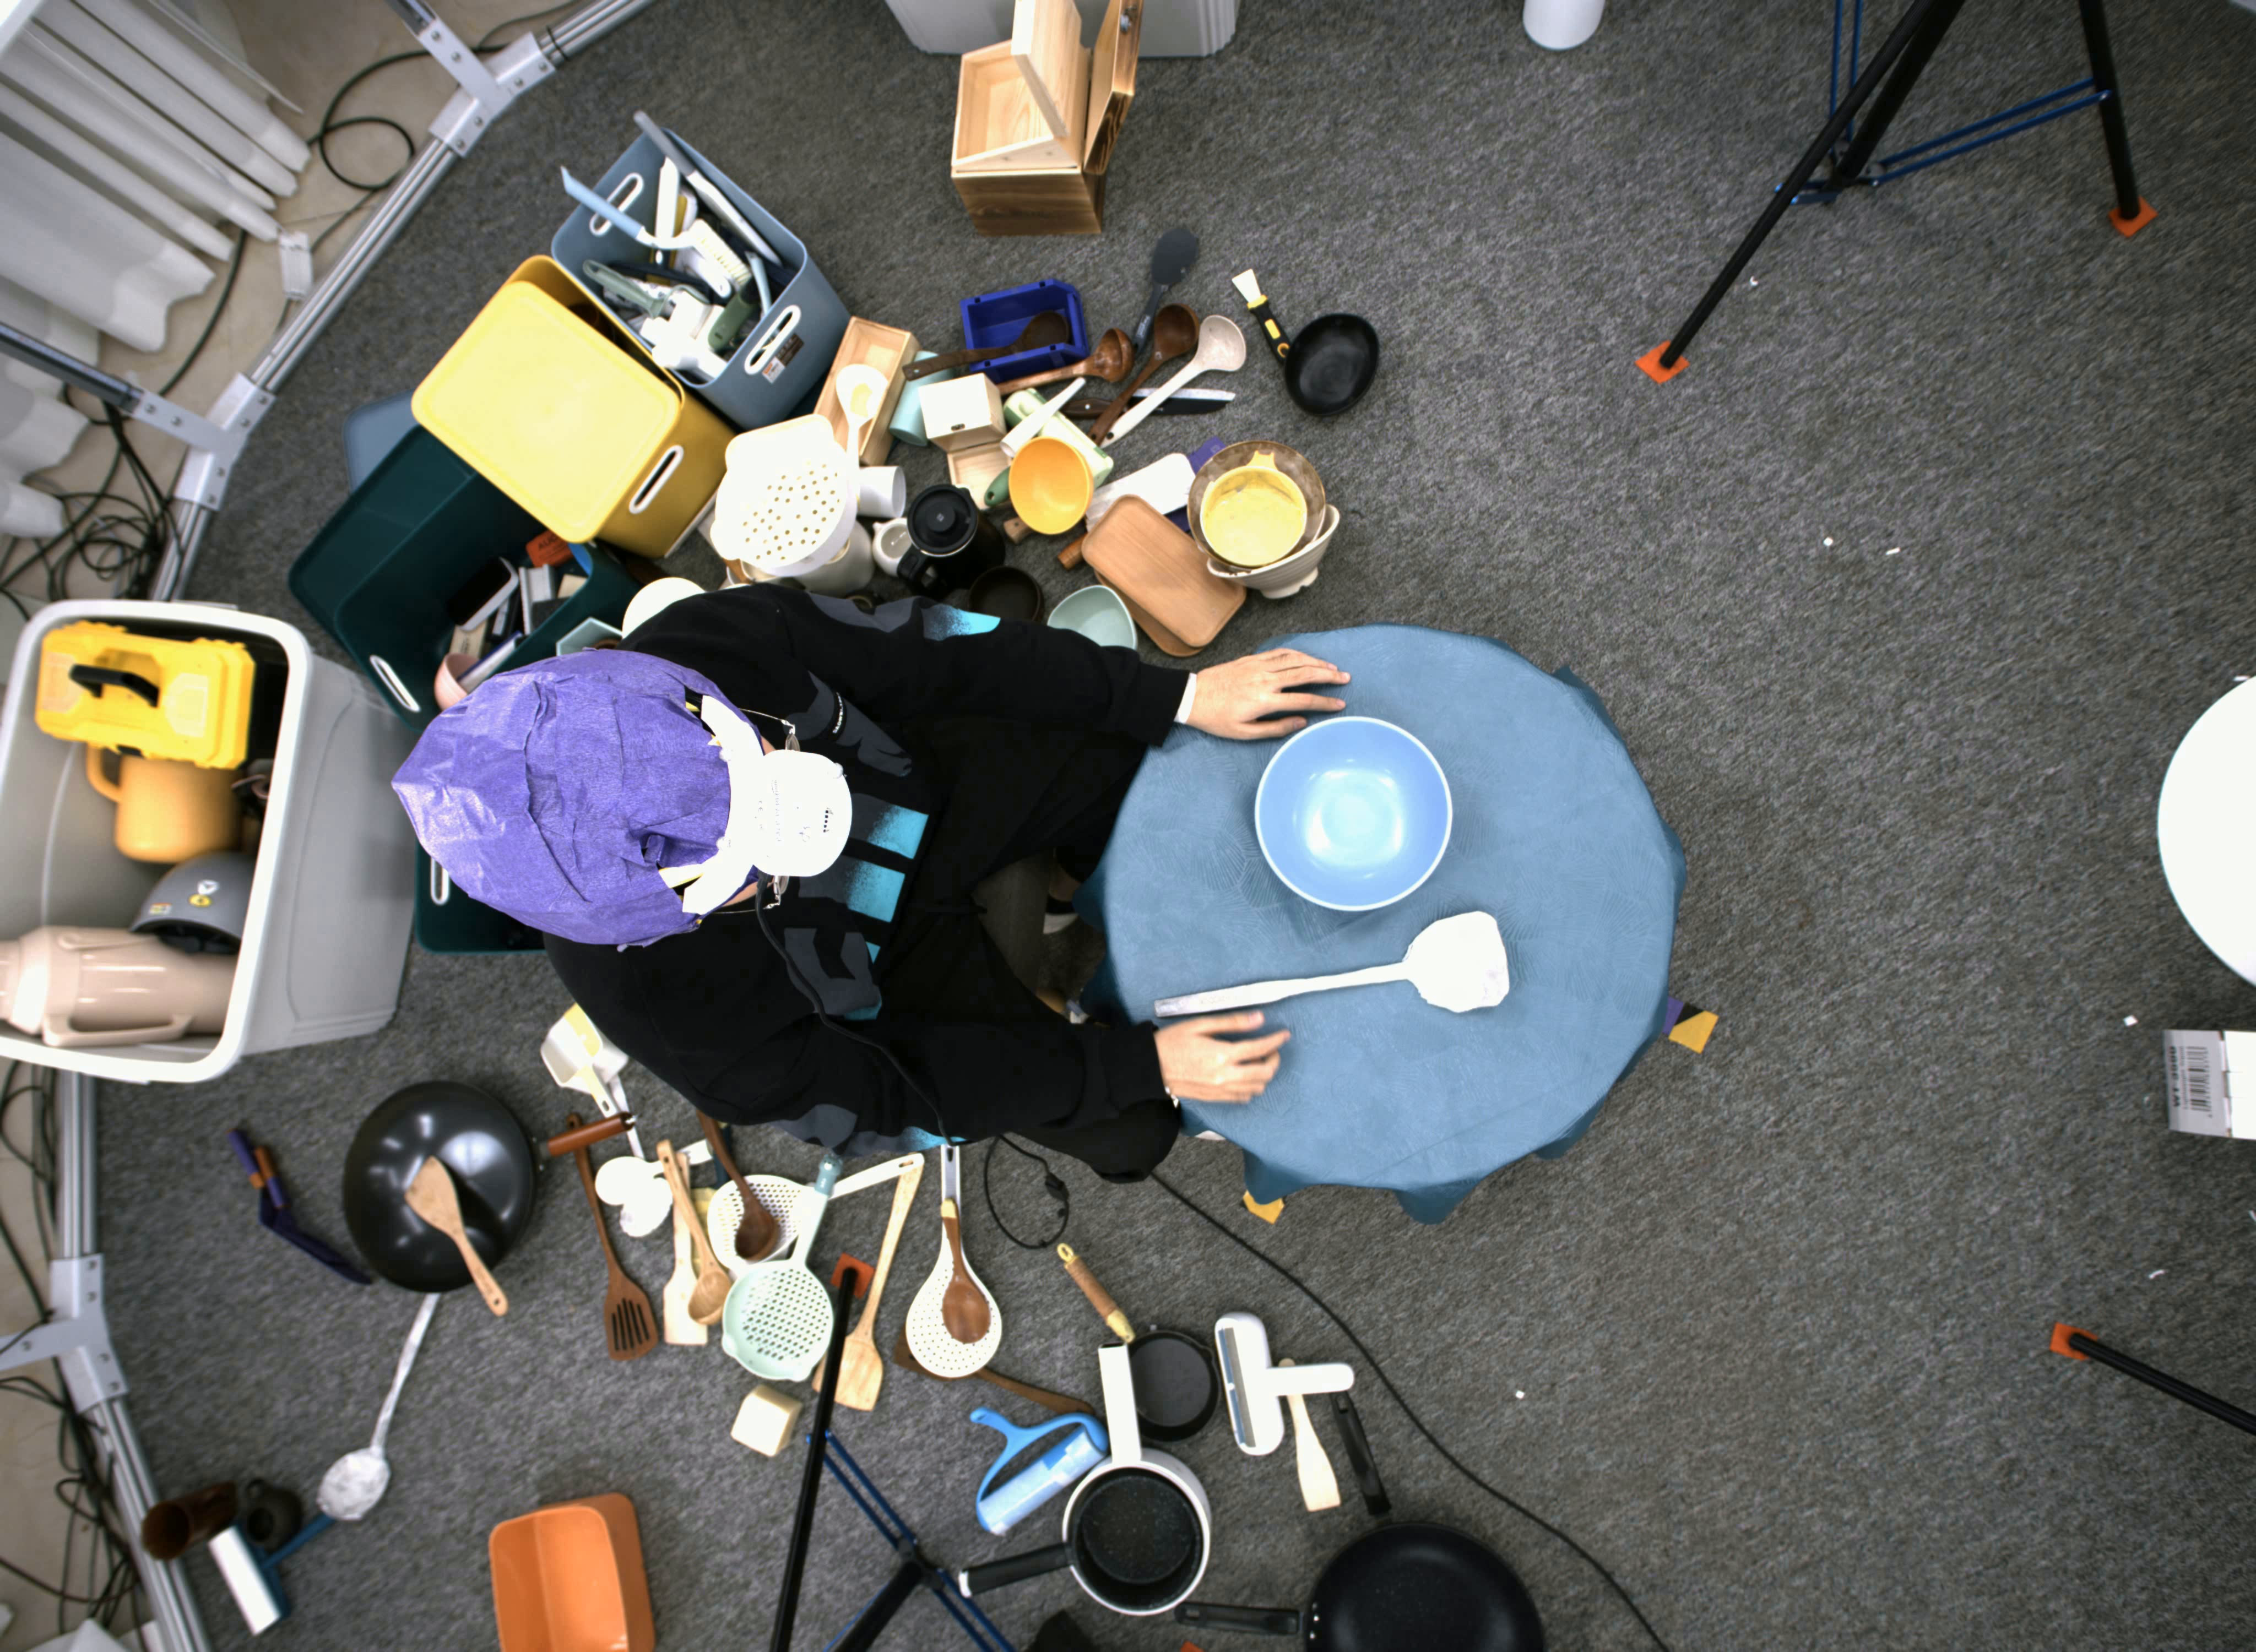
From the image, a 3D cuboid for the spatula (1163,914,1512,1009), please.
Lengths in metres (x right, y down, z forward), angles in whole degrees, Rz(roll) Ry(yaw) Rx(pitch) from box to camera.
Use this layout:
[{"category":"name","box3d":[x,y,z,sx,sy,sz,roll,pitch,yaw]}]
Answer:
[{"category":"spatula","box3d":[0.214,0.161,1.450,0.366,0.045,0.098,-9,86,9]}]

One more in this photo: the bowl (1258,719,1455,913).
[{"category":"bowl","box3d":[0.235,-0.007,1.428,0.197,0.095,0.195,-1,86,9]}]
